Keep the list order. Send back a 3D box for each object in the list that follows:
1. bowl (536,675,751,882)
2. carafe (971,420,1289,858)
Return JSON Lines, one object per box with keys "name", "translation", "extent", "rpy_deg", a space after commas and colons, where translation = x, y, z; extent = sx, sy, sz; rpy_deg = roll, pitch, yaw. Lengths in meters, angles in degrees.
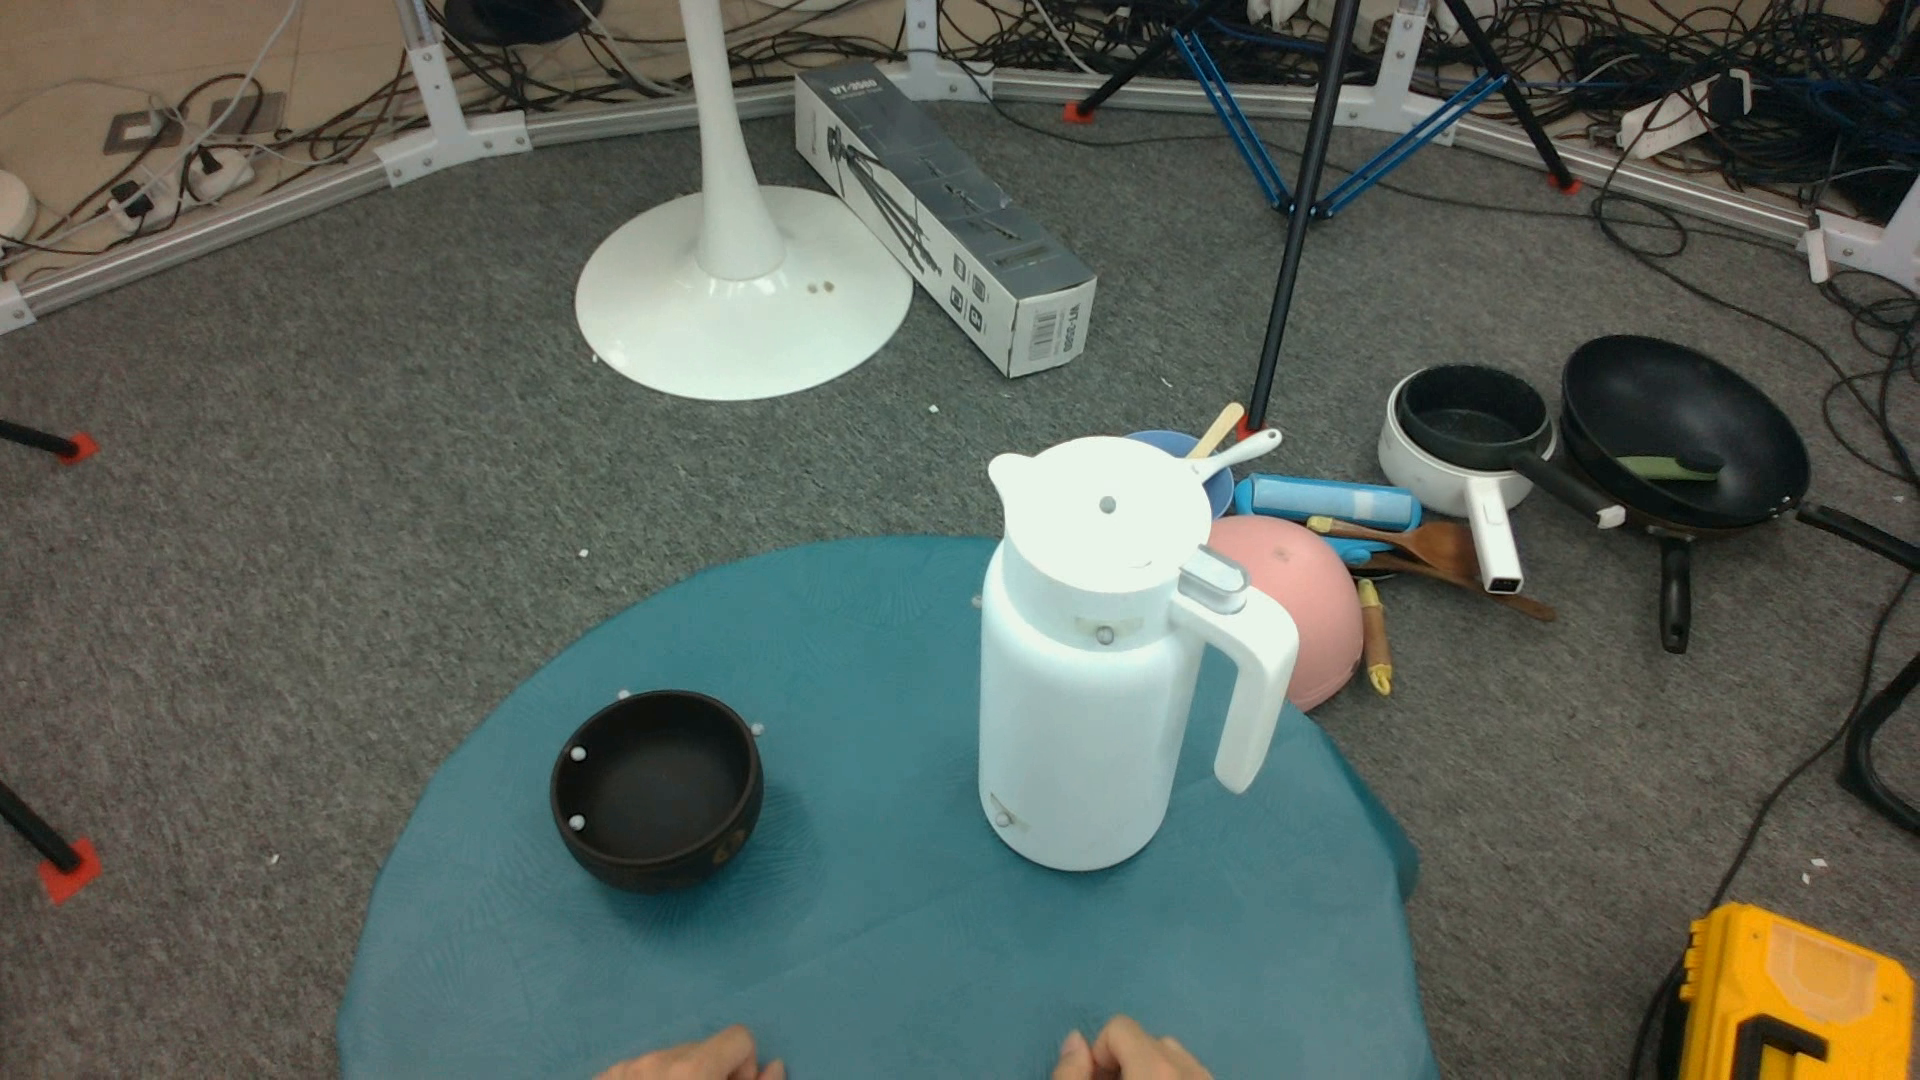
{"name": "bowl", "translation": [-0.180, 0.144, 0.798], "extent": [0.118, 0.069, 0.118], "rpy_deg": [1, 50, -1]}
{"name": "carafe", "translation": [0.079, 0.069, 0.741], "extent": [0.173, 0.267, 0.124], "rpy_deg": [29, 54, 22]}
